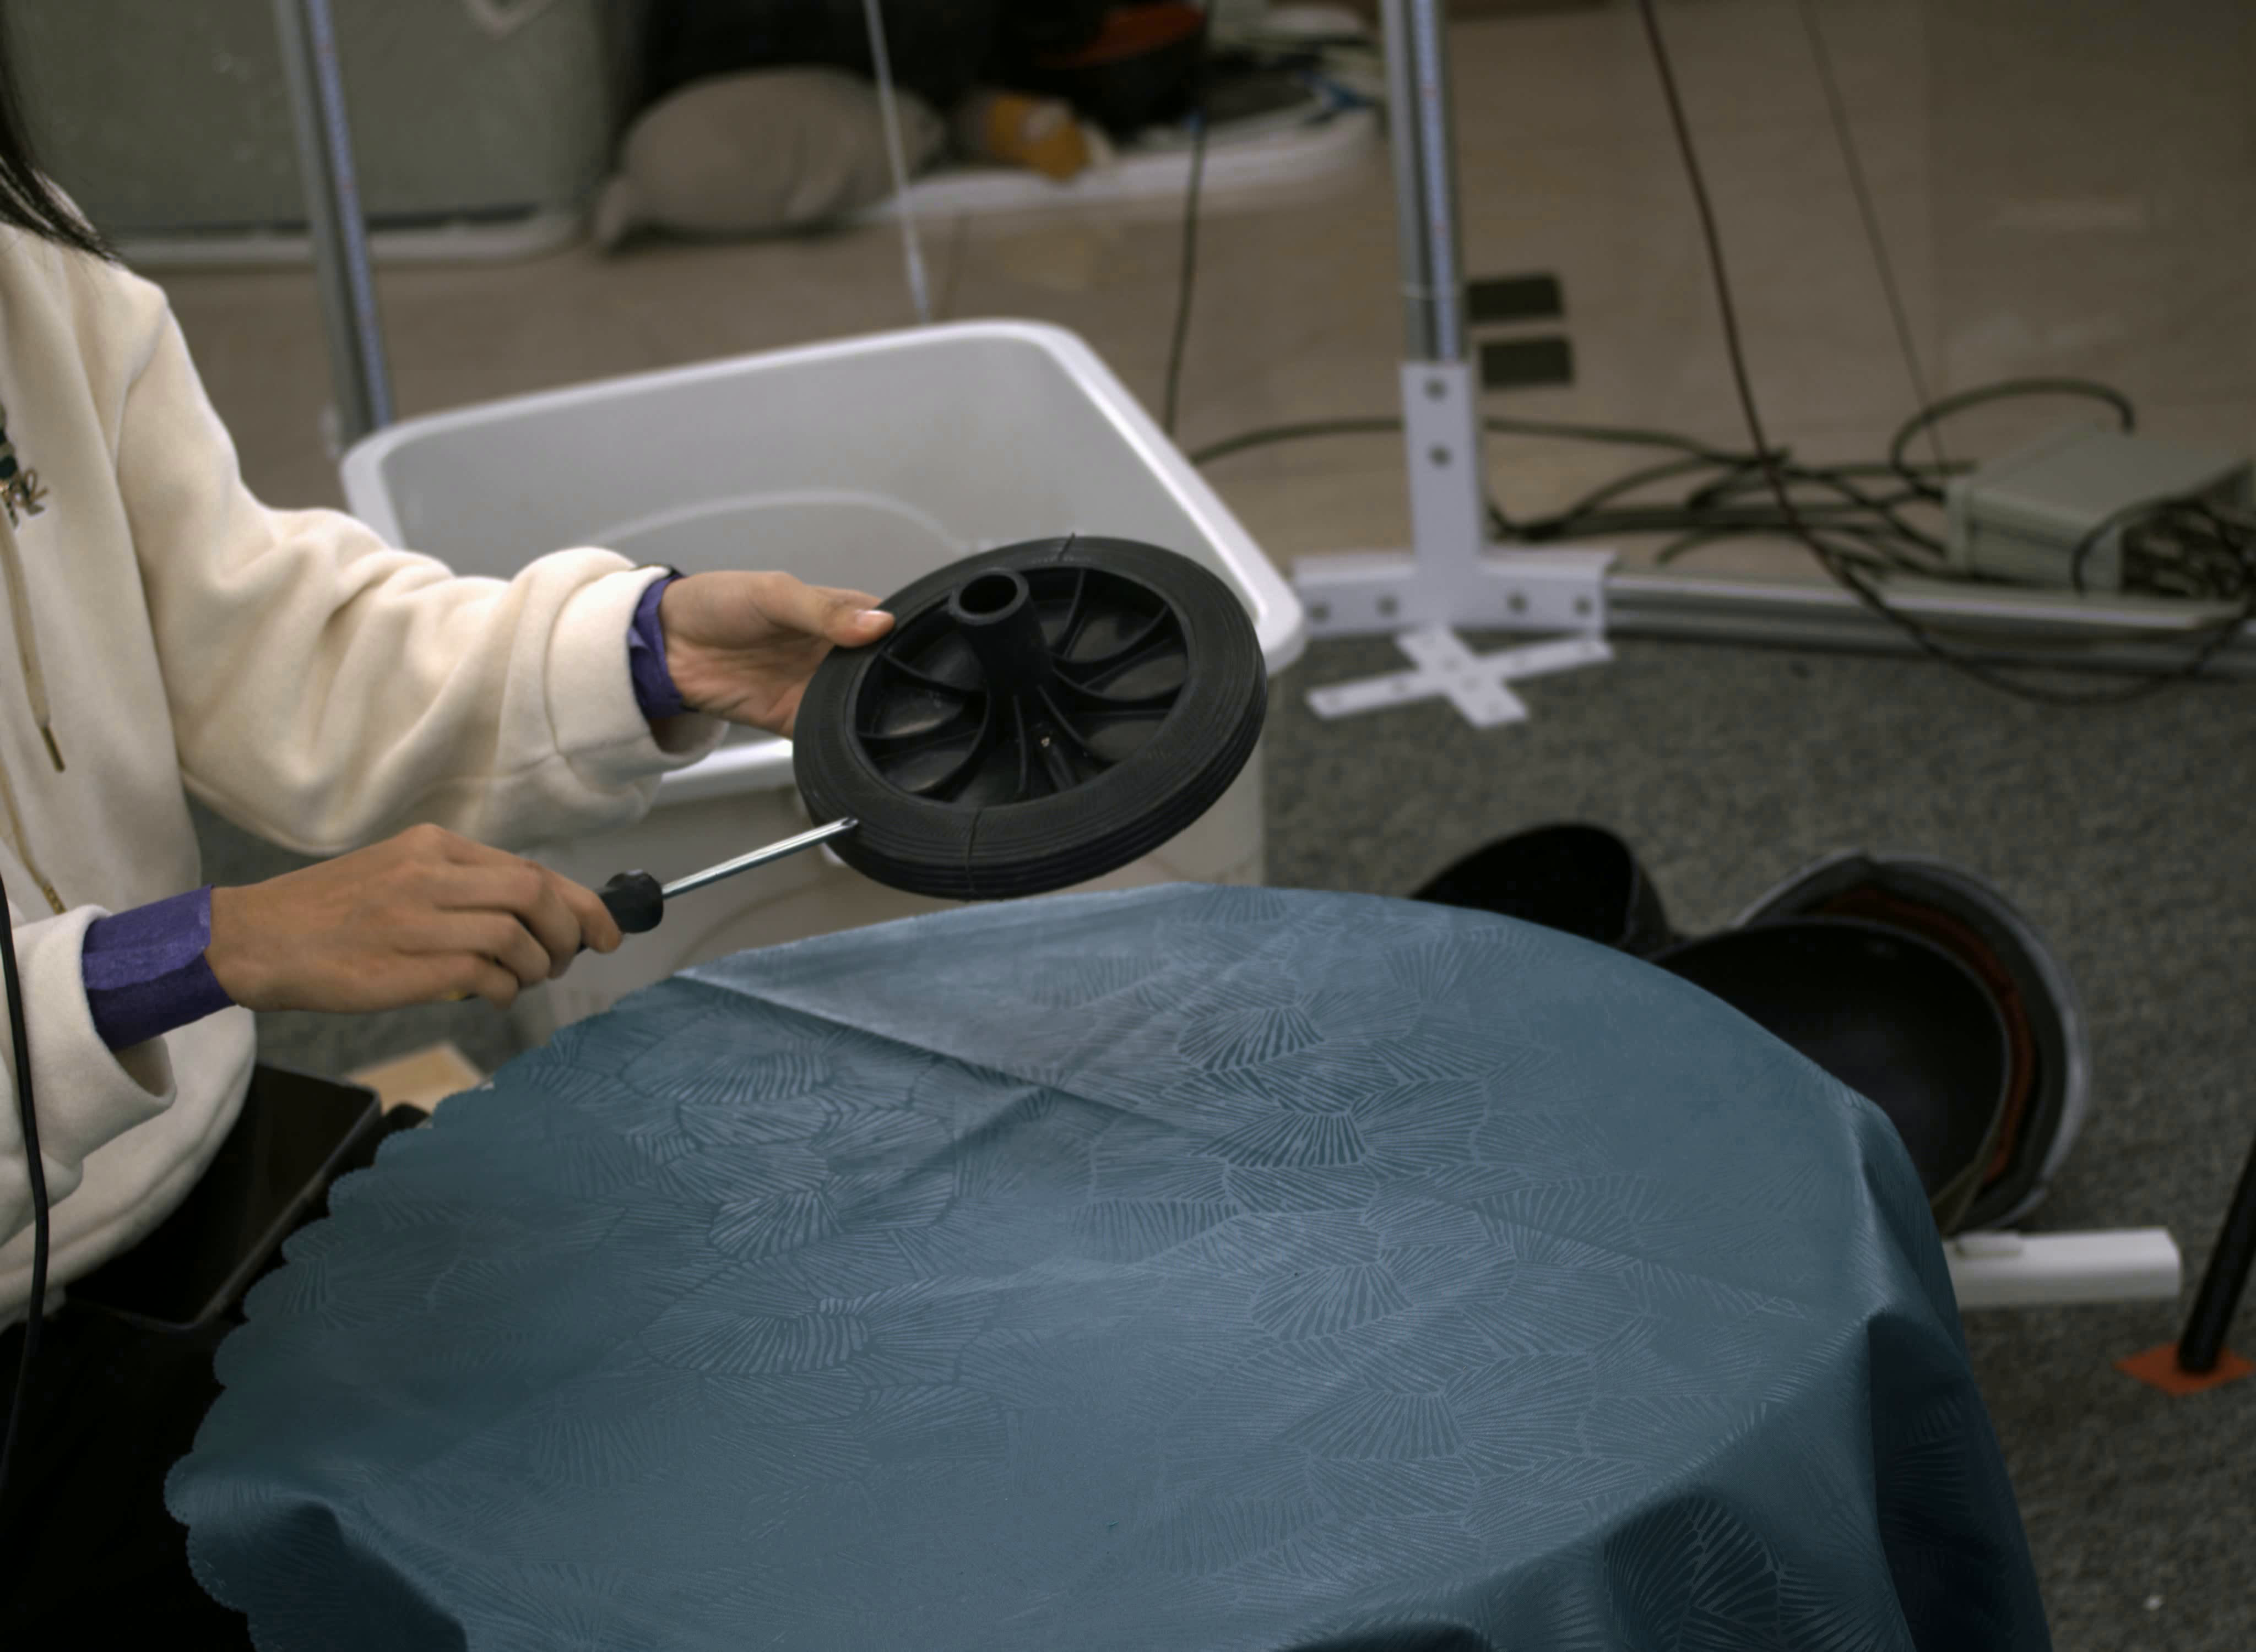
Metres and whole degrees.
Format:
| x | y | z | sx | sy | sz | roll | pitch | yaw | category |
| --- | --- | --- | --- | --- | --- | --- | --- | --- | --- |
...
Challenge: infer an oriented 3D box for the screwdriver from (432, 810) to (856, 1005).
| x | y | z | sx | sy | sz | roll | pitch | yaw | category |
| --- | --- | --- | --- | --- | --- | --- | --- | --- | --- |
| -0.178 | 0.025 | 2.101 | 0.031 | 0.032 | 0.194 | 18 | 31 | 41 | screwdriver |

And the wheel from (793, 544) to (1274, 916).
| x | y | z | sx | sy | sz | roll | pitch | yaw | category |
| --- | --- | --- | --- | --- | --- | --- | --- | --- | --- |
| -0.041 | -0.054 | 2.182 | 0.186 | 0.080 | 0.187 | -39 | 49 | -20 | wheel |
